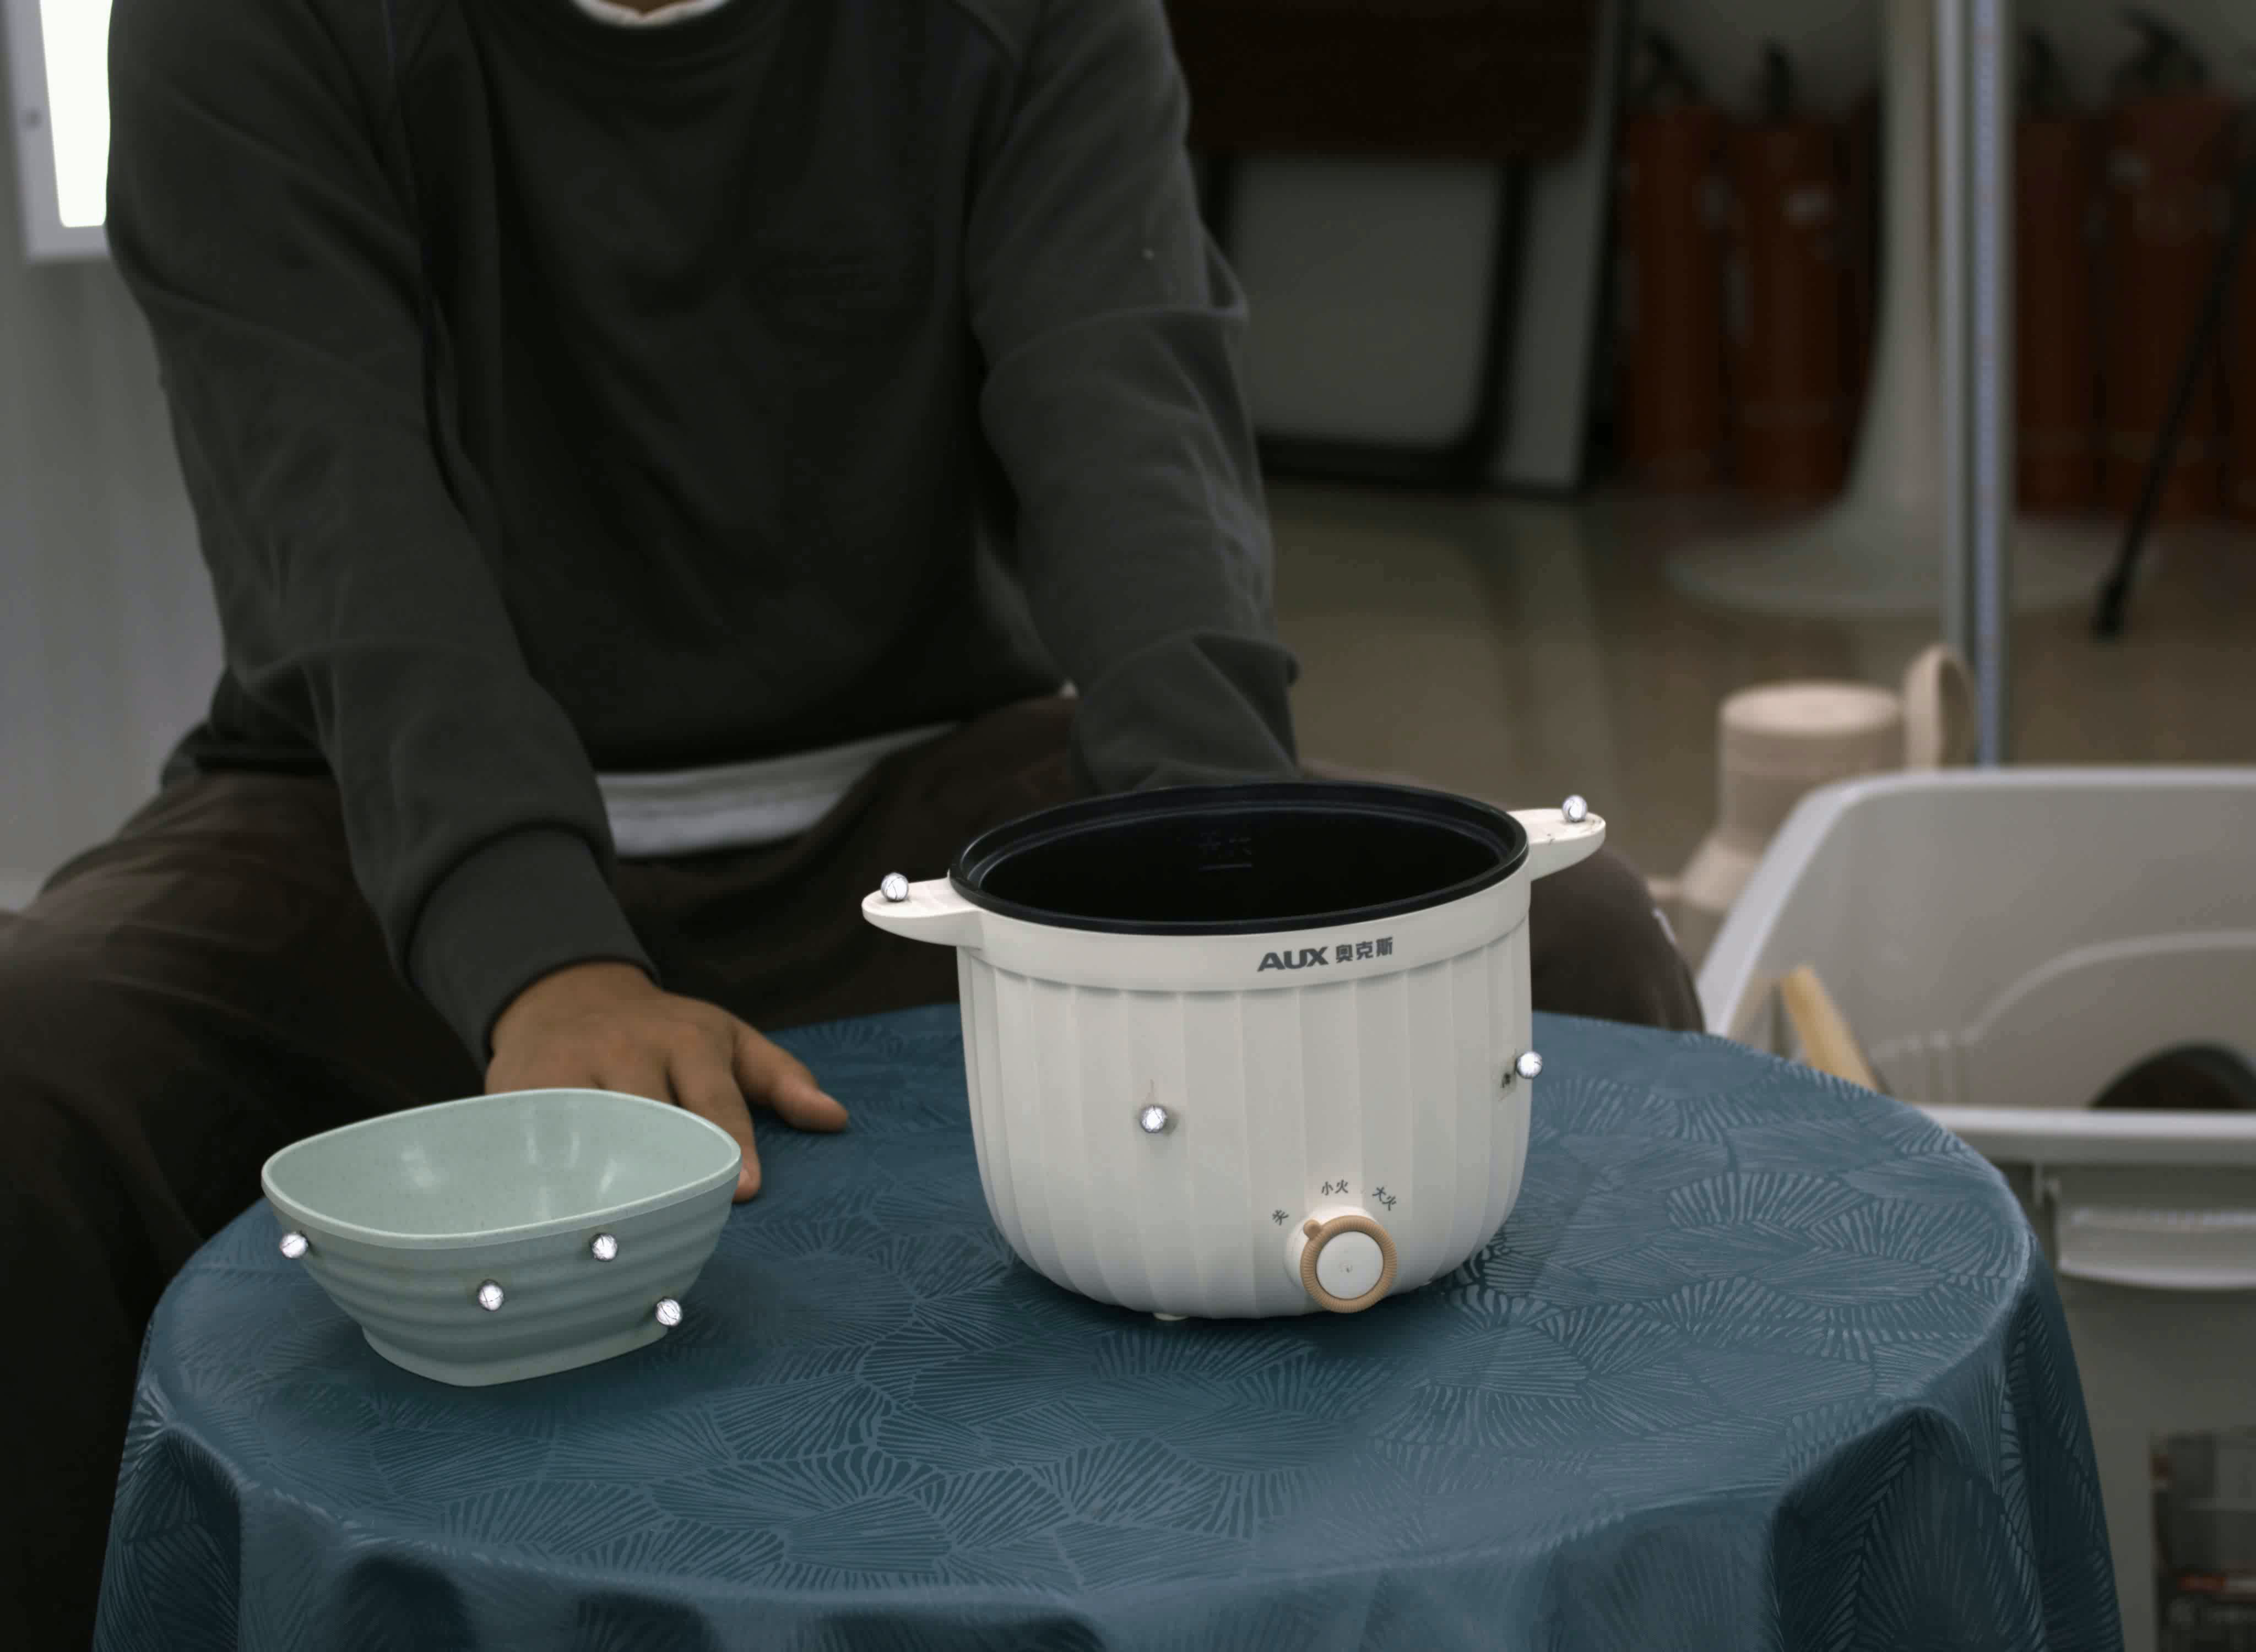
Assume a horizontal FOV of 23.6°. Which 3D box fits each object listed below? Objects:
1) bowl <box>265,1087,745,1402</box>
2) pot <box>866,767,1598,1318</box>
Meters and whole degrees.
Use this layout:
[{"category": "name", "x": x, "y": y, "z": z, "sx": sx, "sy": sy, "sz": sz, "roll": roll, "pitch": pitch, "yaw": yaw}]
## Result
[{"category": "bowl", "x": -0.190, "y": 0.132, "z": 1.666, "sx": 0.149, "sy": 0.059, "sz": 0.152, "roll": -3, "pitch": 15, "yaw": 0}, {"category": "pot", "x": 0.041, "y": 0.069, "z": 1.677, "sx": 0.236, "sy": 0.144, "sz": 0.192, "roll": -9, "pitch": 11, "yaw": -14}]
